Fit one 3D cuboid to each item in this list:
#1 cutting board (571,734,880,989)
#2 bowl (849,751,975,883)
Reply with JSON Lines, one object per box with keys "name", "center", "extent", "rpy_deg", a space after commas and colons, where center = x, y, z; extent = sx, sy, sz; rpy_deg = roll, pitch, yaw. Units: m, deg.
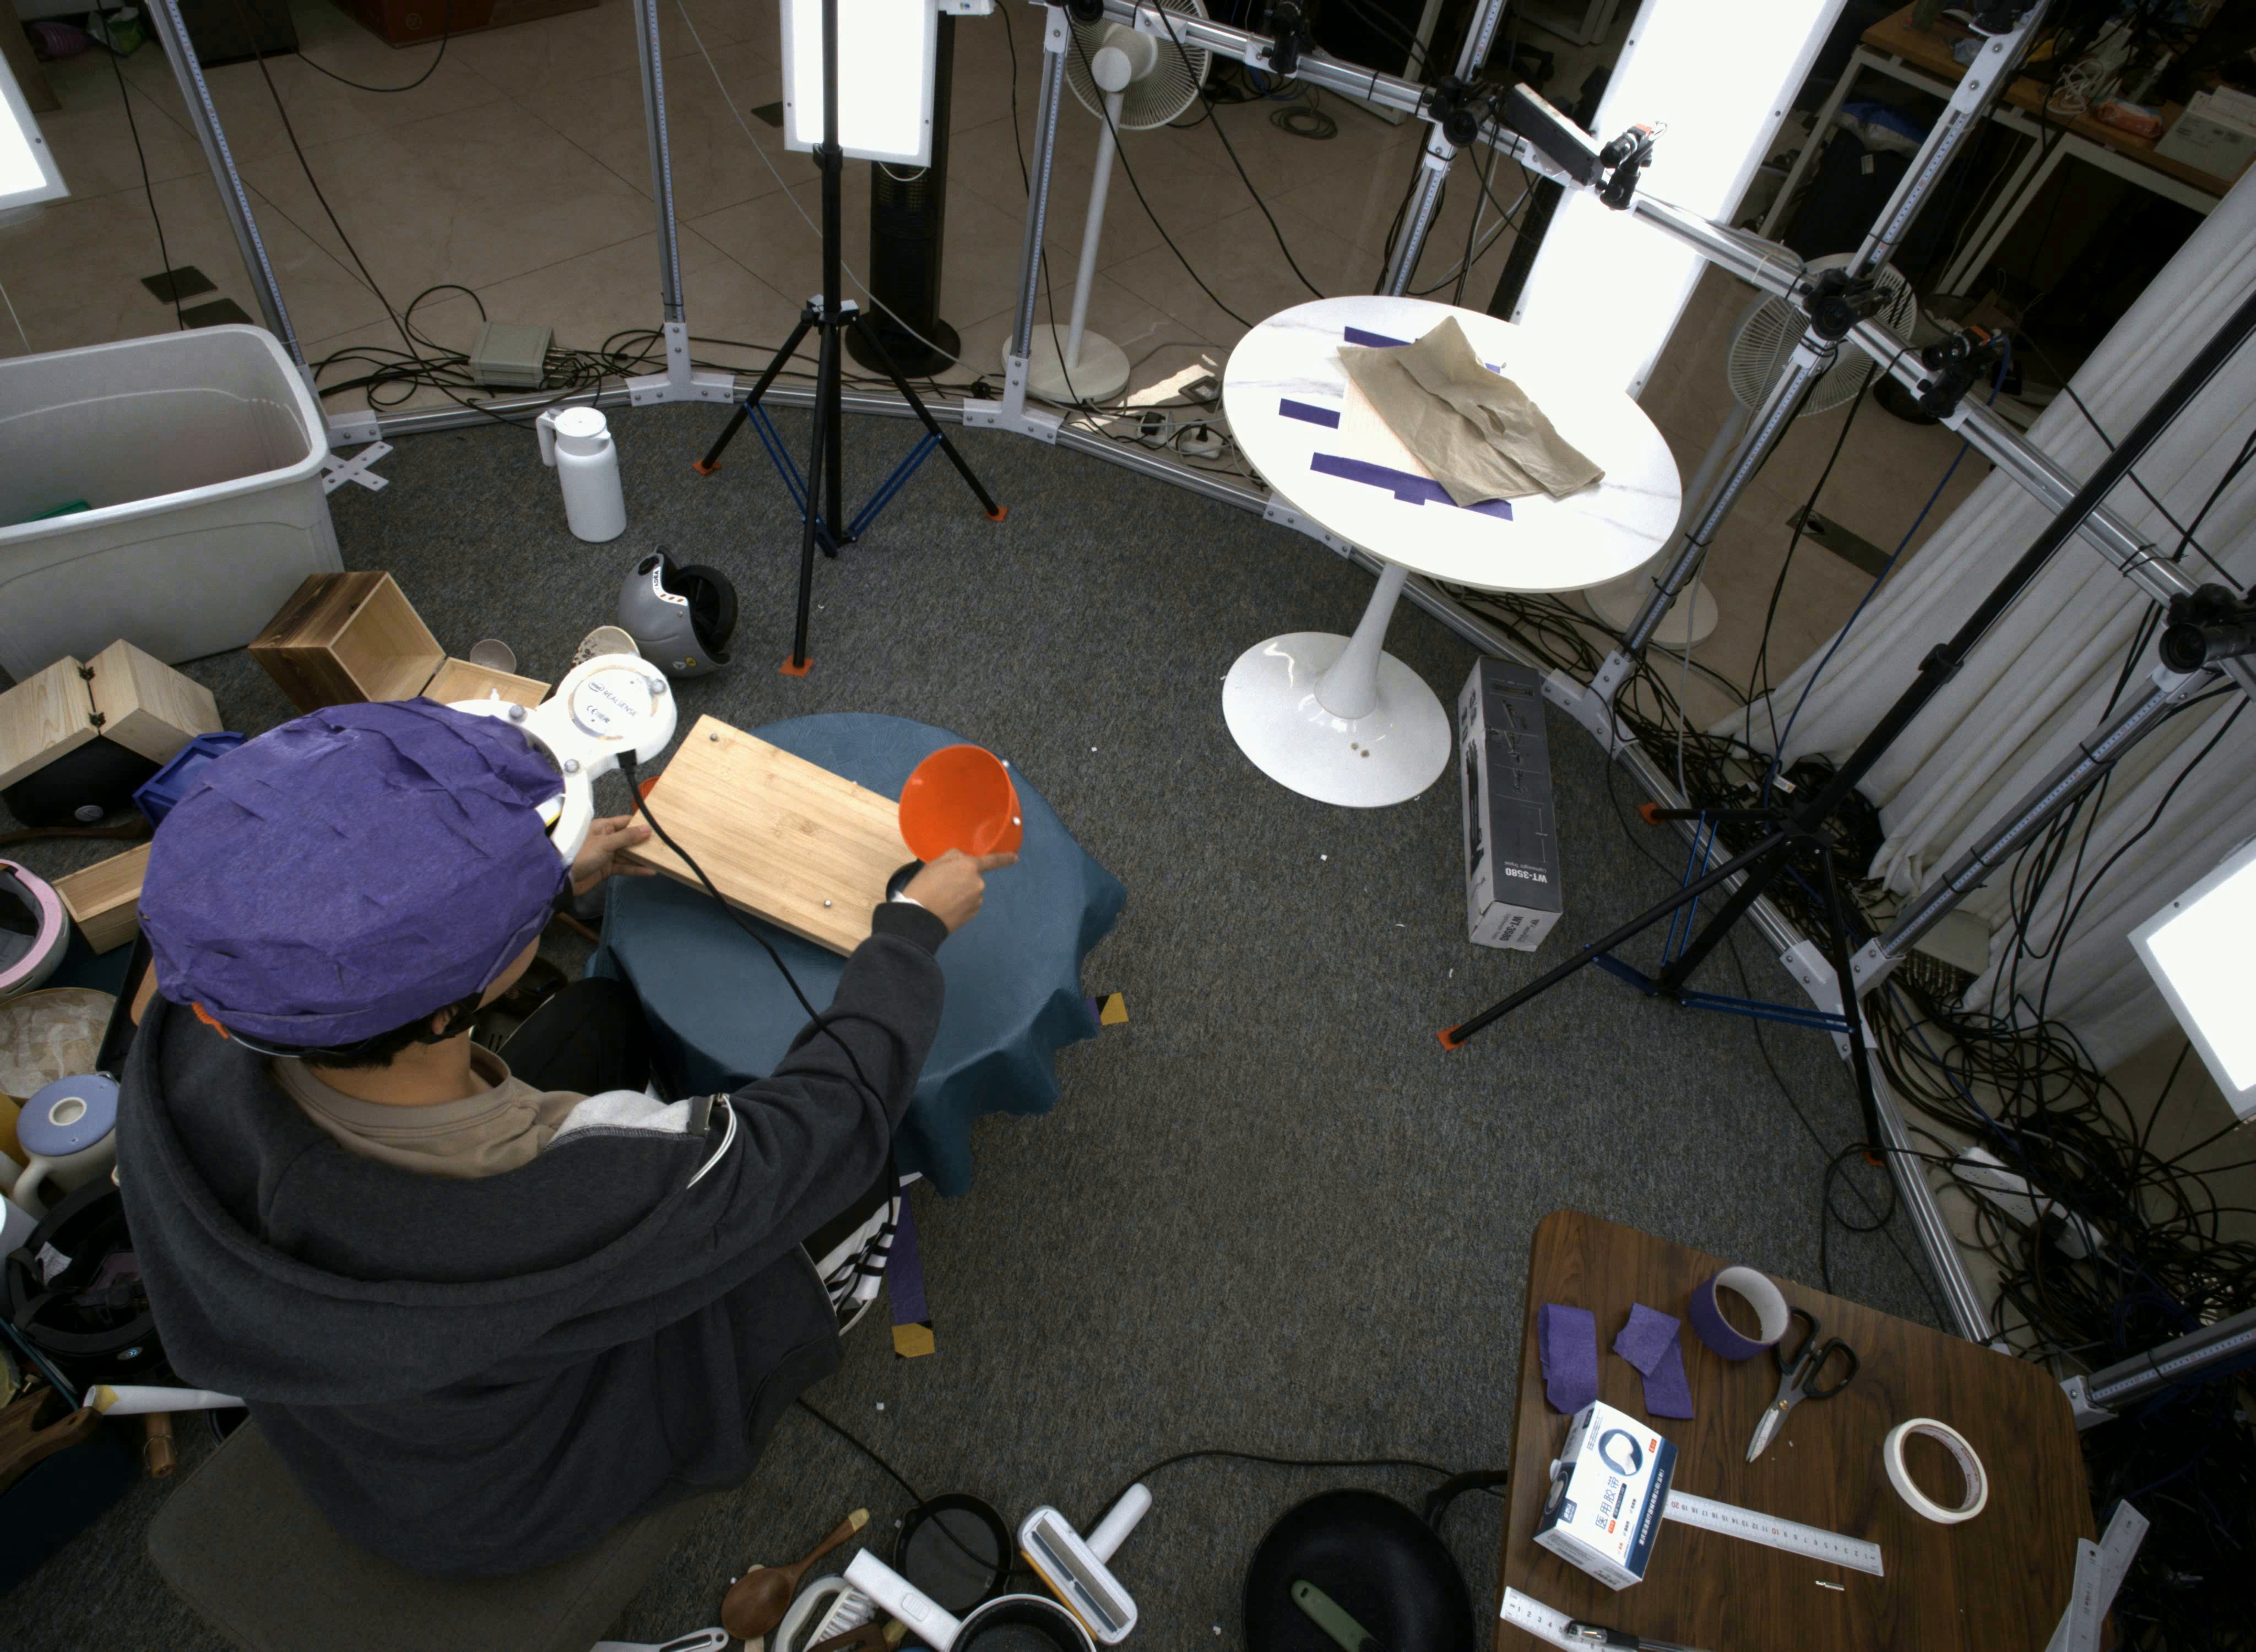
{"name": "cutting board", "center": [-0.491, 0.038, 1.624], "extent": [0.351, 0.024, 0.247], "rpy_deg": [23, 49, -12]}
{"name": "bowl", "center": [-0.238, 0.001, 1.518], "extent": [0.144, 0.108, 0.147], "rpy_deg": [-9, 65, 22]}
